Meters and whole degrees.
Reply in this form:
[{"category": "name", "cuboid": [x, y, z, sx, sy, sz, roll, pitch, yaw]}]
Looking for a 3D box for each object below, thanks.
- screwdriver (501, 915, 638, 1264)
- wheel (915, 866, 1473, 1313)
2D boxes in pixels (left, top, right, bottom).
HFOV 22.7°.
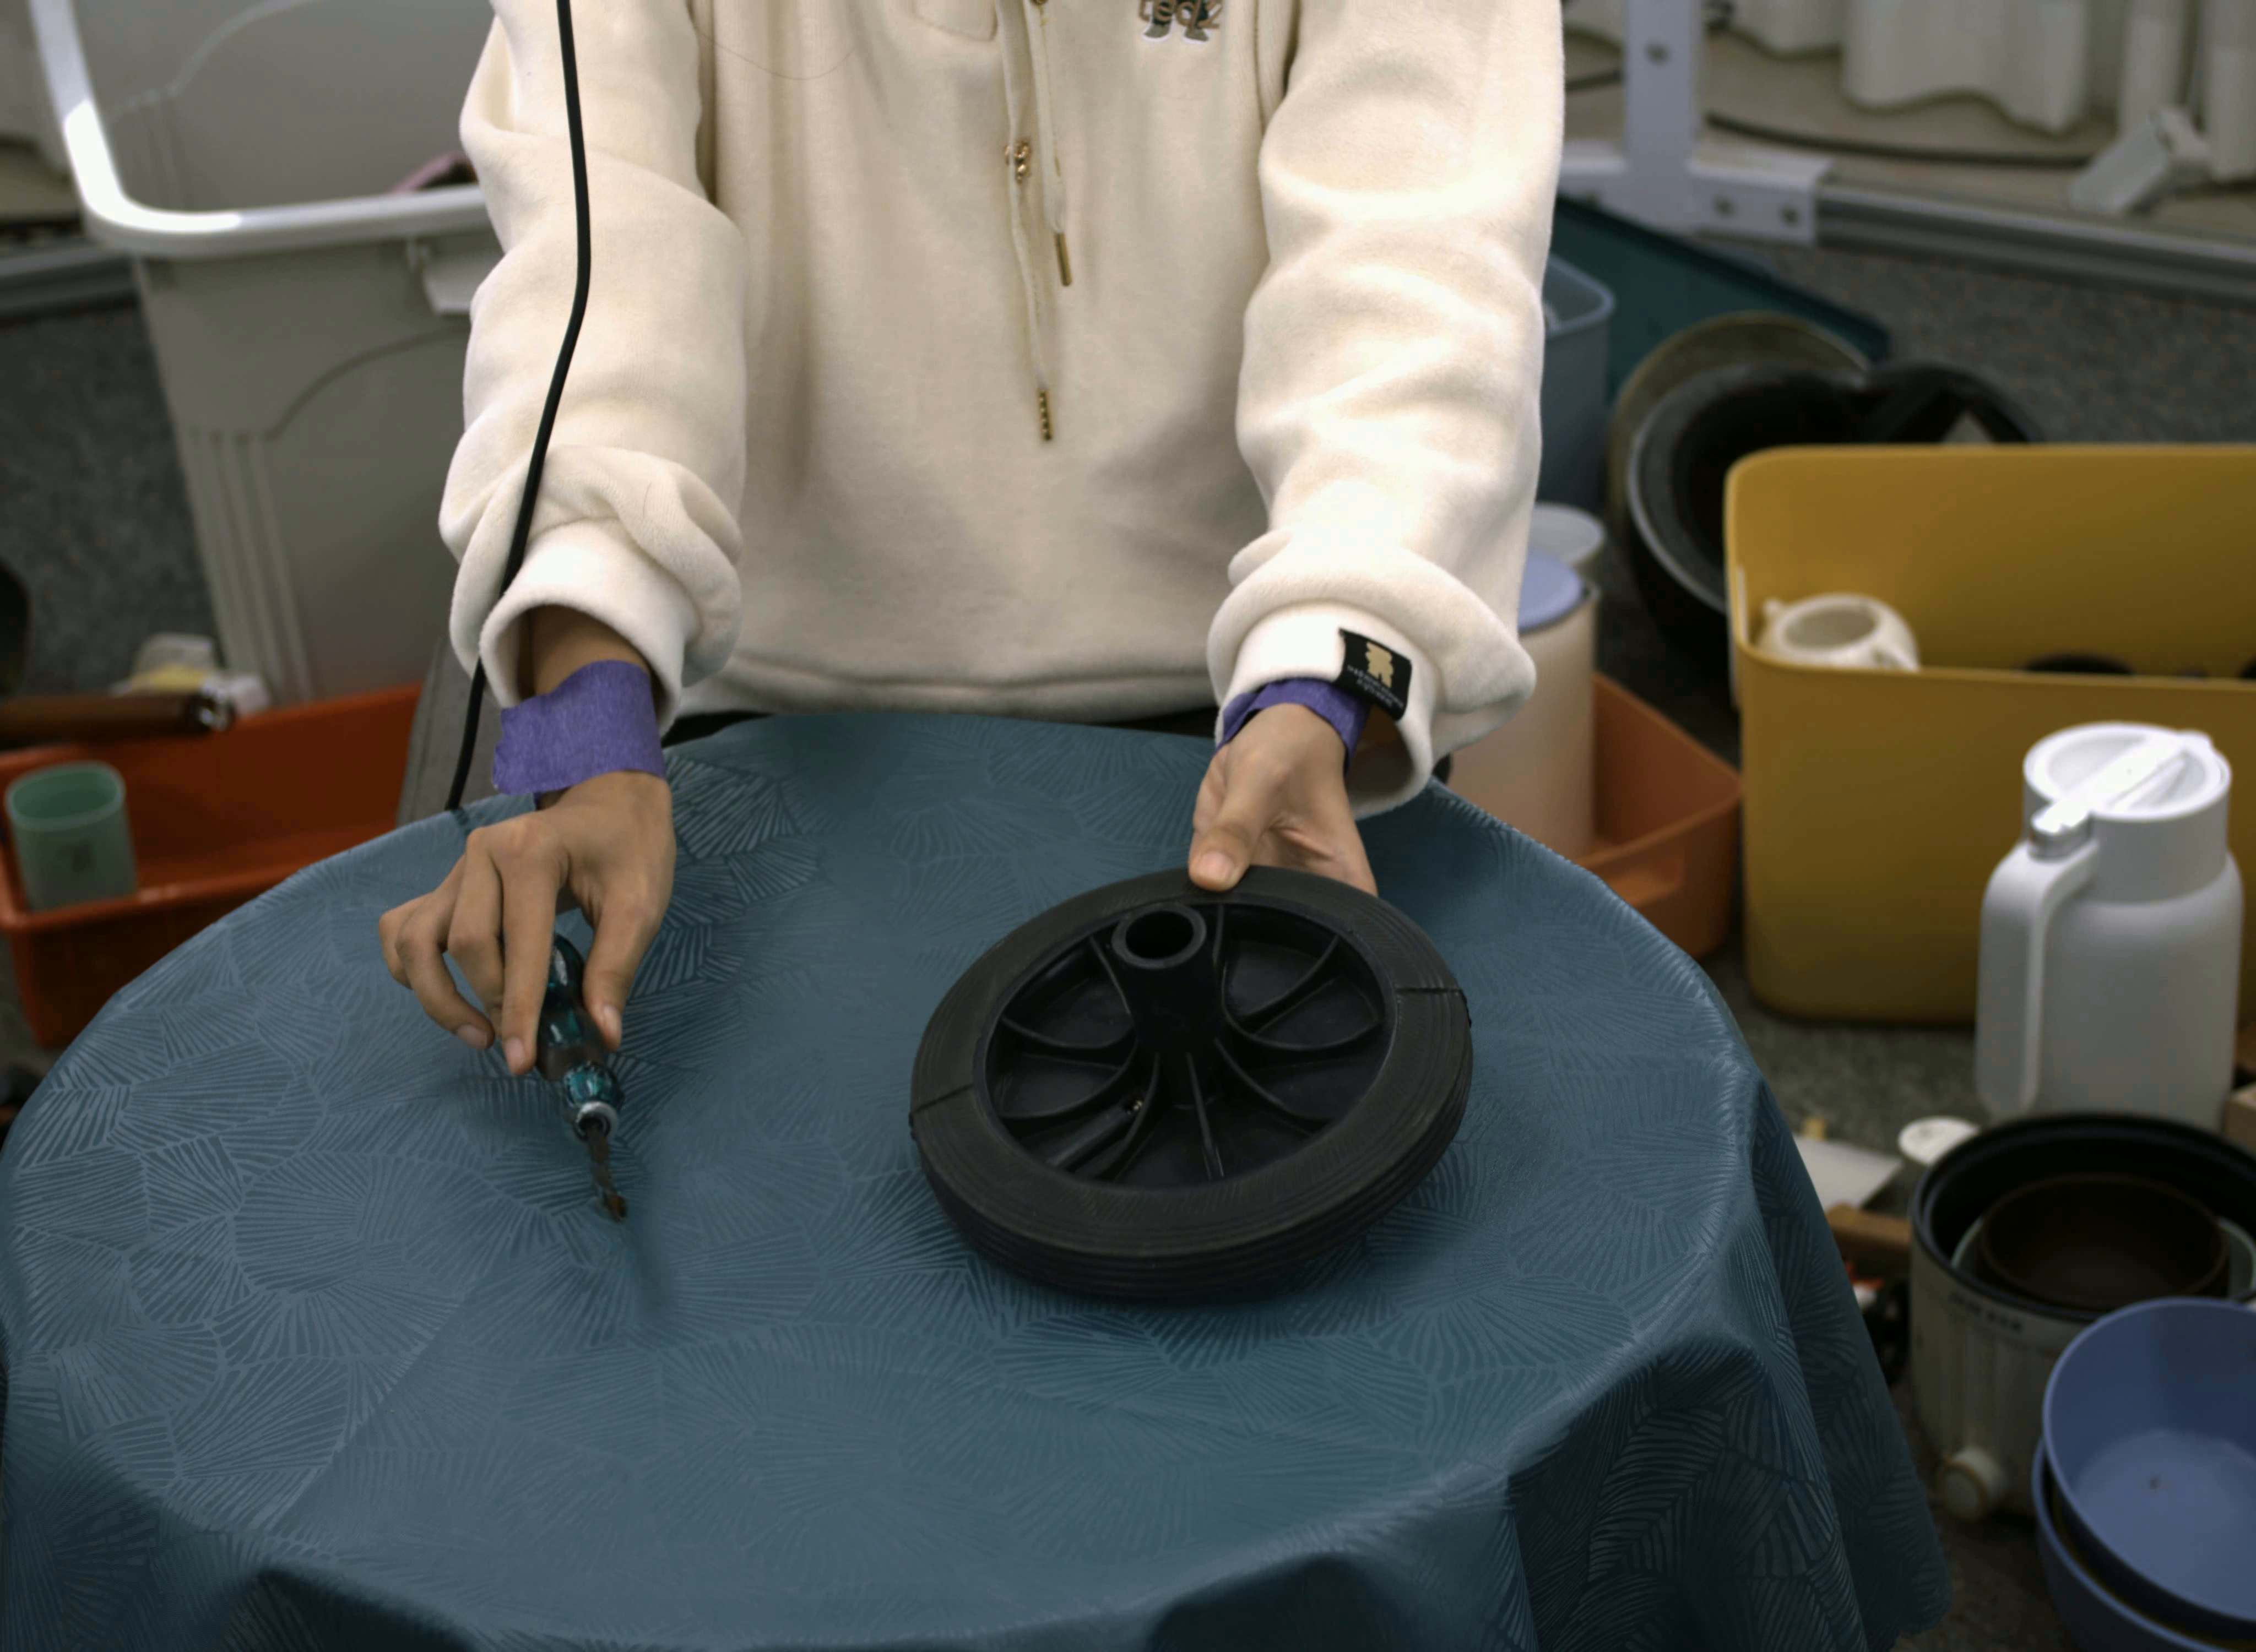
[{"category": "screwdriver", "cuboid": [-0.182, 0.090, 1.875, 0.033, 0.033, 0.192, -8, 33, -11]}, {"category": "wheel", "cuboid": [0.017, 0.069, 1.845, 0.186, 0.078, 0.193, 12, 47, 27]}]
